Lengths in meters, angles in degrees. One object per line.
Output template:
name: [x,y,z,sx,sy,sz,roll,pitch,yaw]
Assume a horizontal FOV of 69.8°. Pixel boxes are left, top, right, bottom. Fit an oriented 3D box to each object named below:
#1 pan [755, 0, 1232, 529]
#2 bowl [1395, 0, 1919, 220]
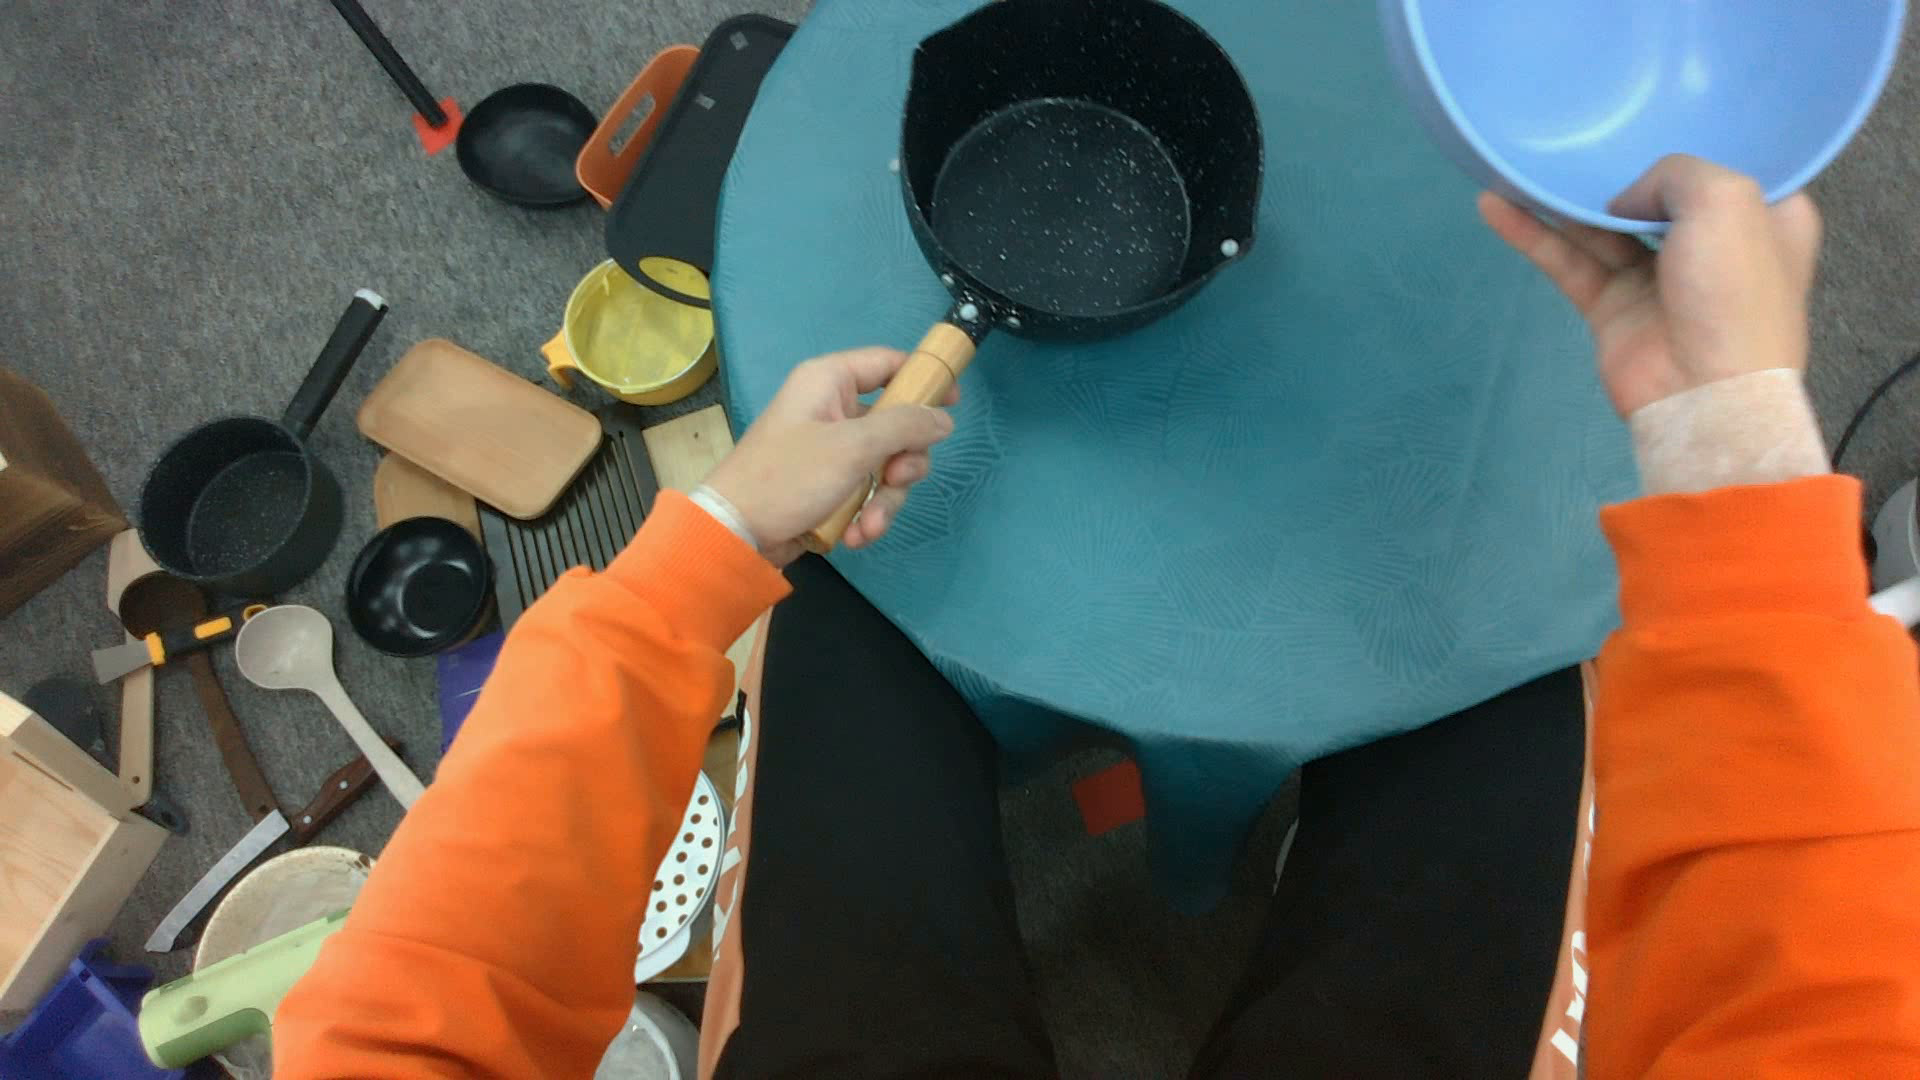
pan: [0.003,-0.138,0.699,0.207,0.108,0.343,31,75,1]
bowl: [0.261,-0.221,0.553,0.196,0.095,0.196,0,94,-1]
